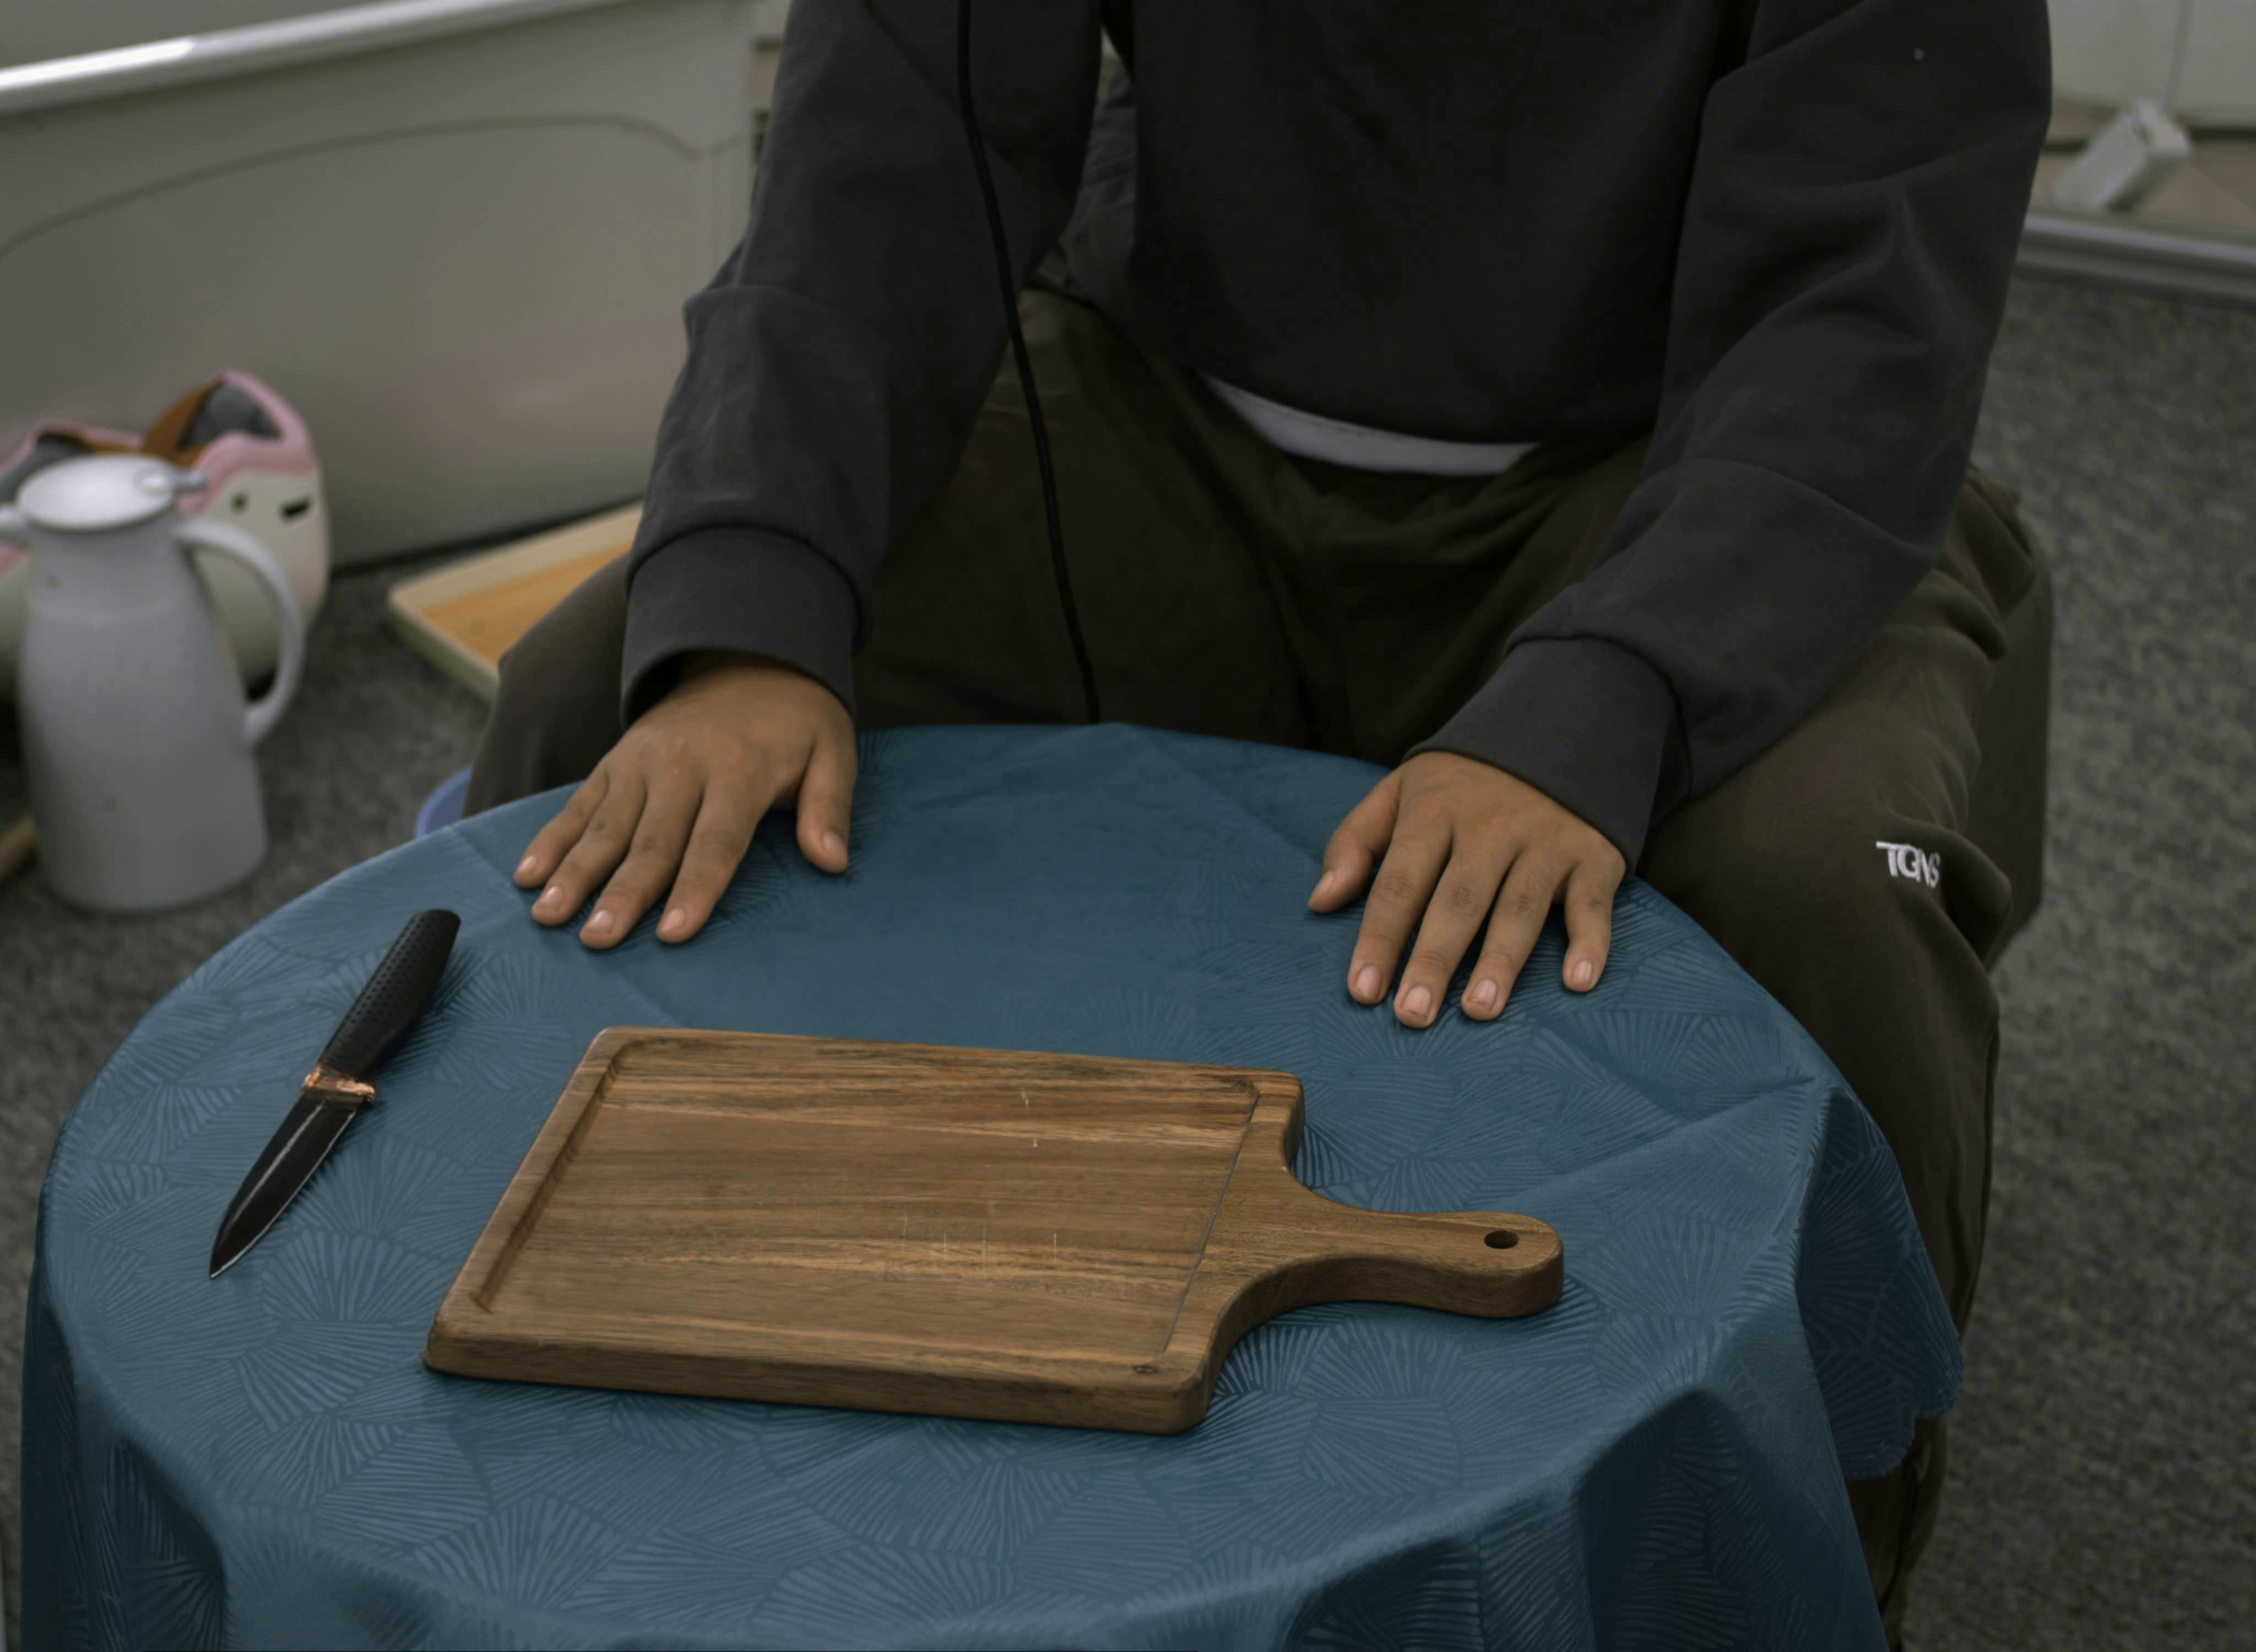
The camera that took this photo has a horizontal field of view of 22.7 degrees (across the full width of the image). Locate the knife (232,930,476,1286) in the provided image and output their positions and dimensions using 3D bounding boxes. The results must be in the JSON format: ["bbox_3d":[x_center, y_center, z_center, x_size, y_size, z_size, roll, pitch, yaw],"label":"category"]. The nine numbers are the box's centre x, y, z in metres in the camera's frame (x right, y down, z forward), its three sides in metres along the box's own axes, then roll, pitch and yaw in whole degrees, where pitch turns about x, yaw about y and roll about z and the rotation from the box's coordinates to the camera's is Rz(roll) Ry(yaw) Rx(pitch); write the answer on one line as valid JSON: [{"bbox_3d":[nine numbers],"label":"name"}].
[{"bbox_3d":[-0.269,0.095,1.928,0.026,0.017,0.229,9,30,11],"label":"knife"}]

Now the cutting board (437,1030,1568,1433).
[{"bbox_3d":[-0.032,0.131,1.826,0.350,0.023,0.204,3,28,11],"label":"cutting board"}]
